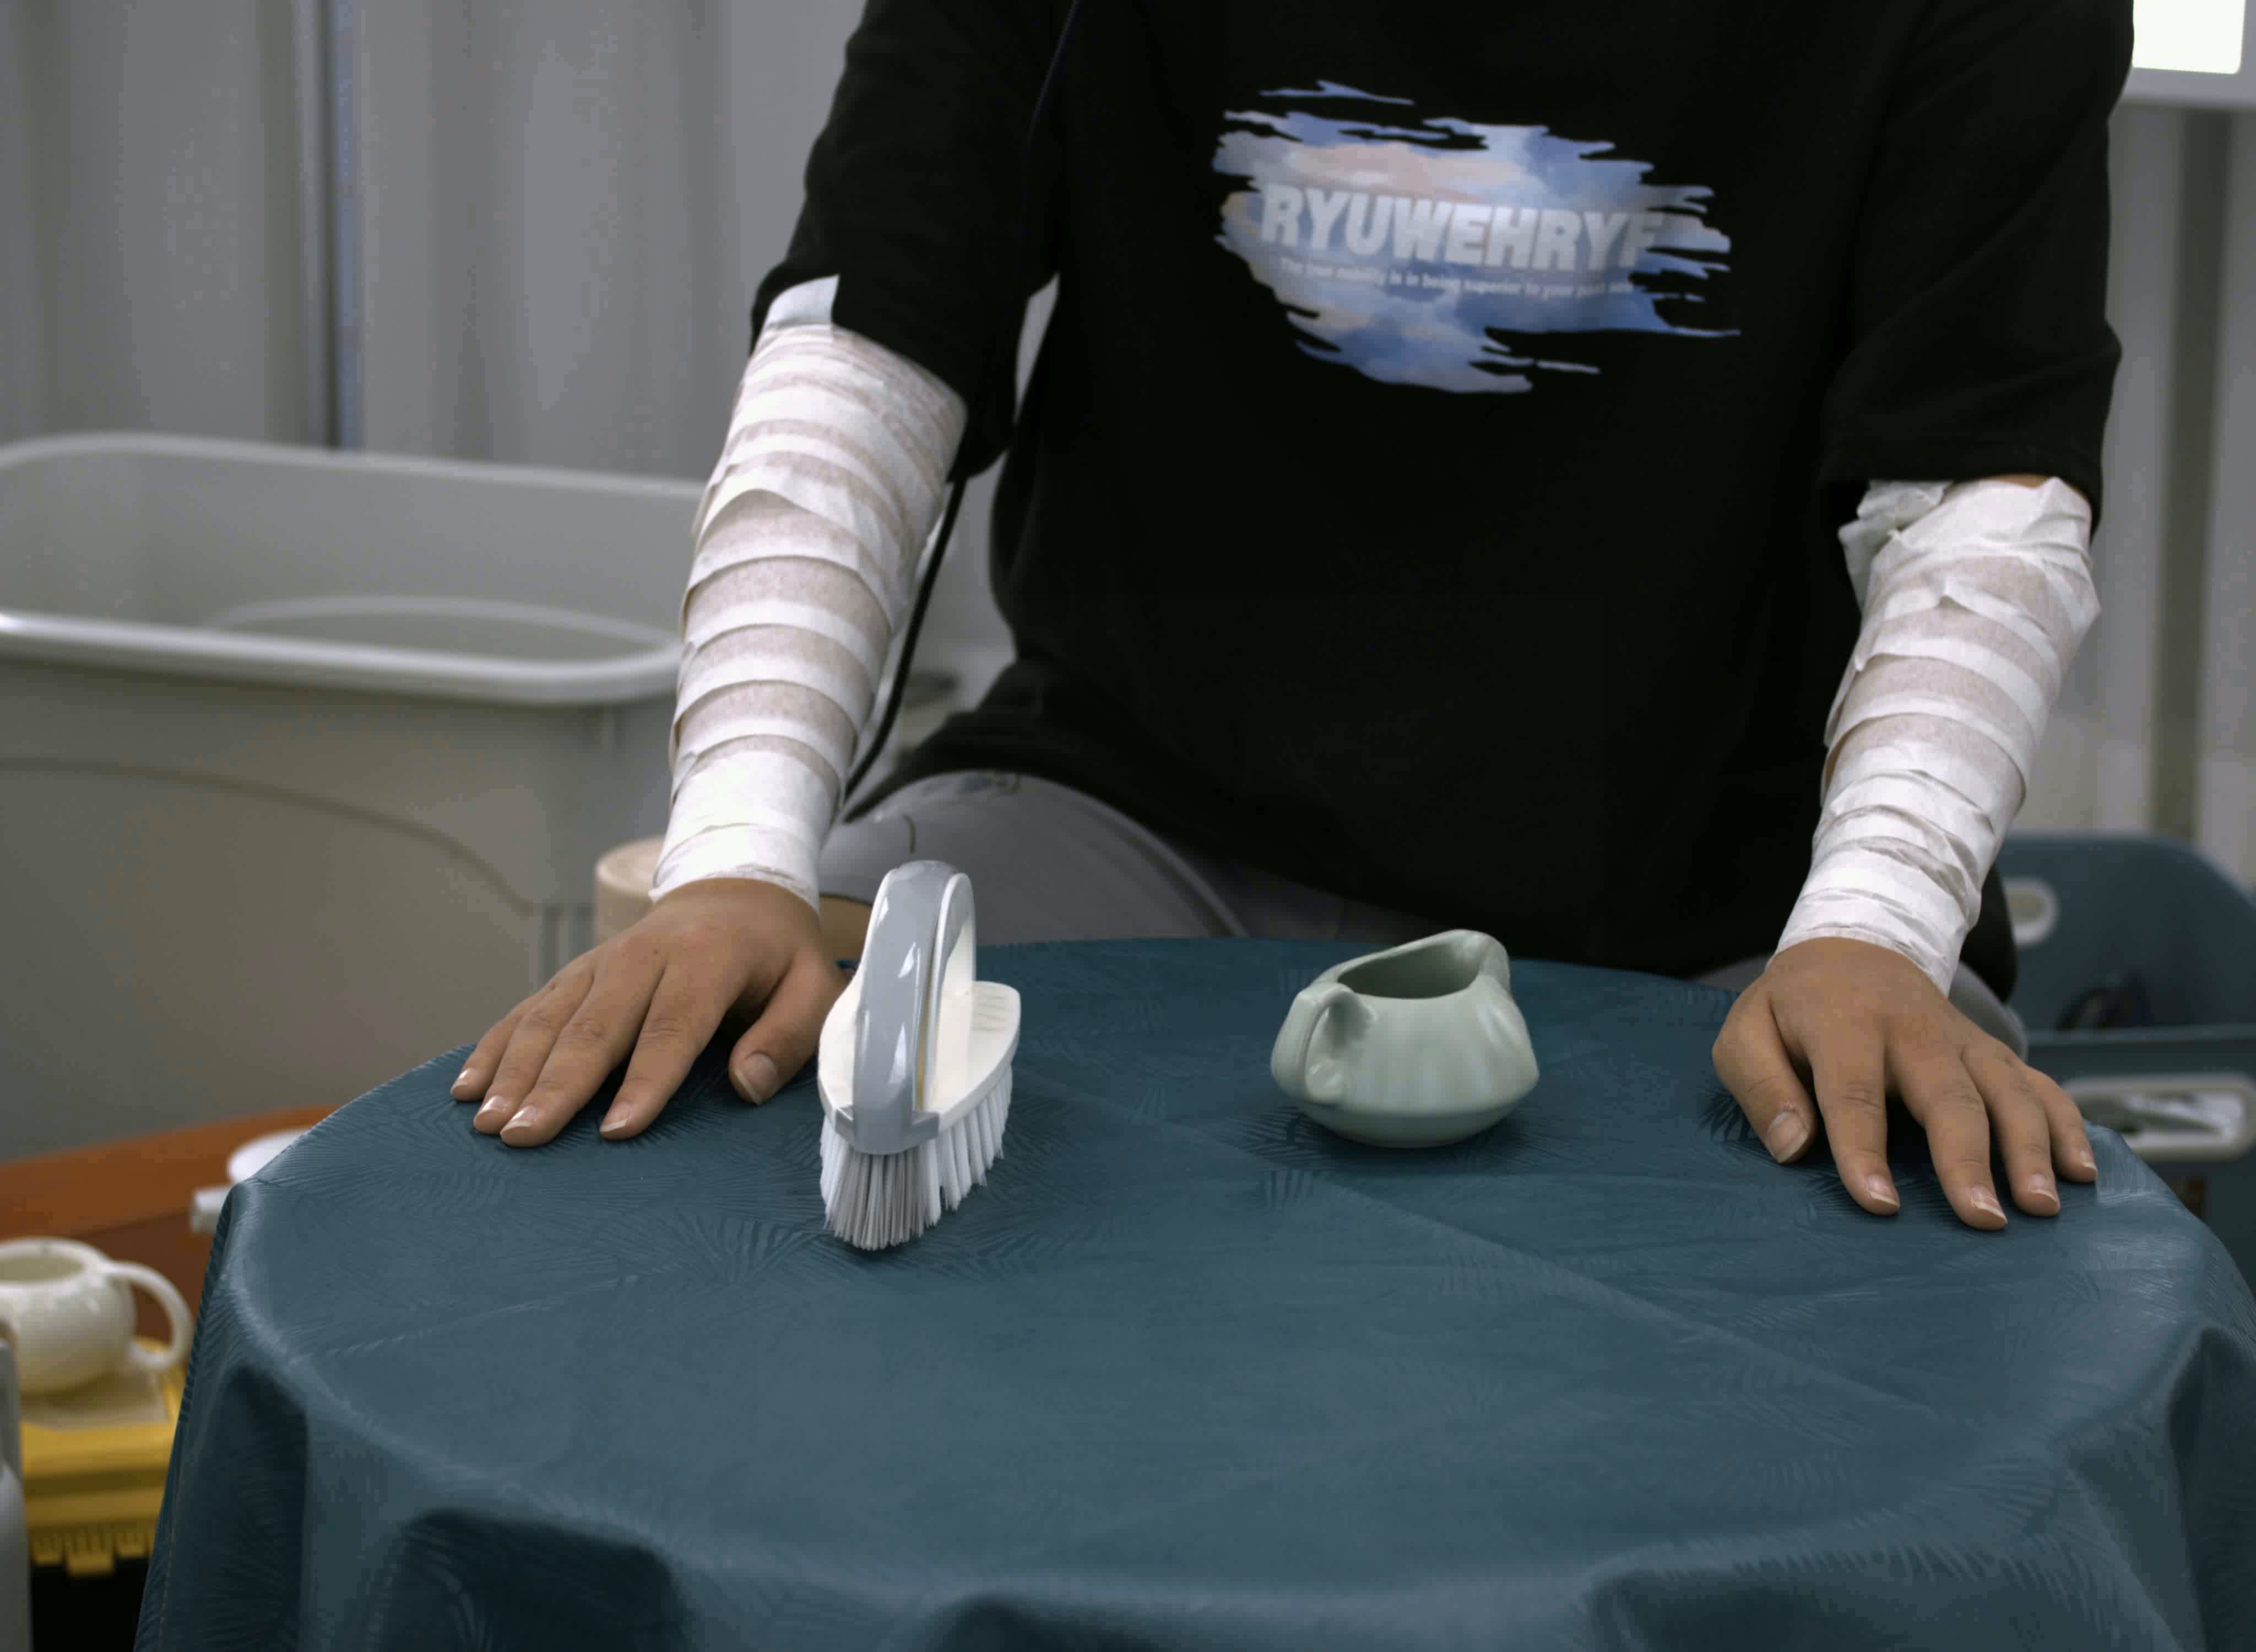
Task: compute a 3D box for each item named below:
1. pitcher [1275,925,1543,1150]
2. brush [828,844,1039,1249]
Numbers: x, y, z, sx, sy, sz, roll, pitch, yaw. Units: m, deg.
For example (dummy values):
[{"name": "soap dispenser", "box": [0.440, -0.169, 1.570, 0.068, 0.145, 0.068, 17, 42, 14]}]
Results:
[{"name": "pitcher", "box": [0.083, 0.071, 1.671, 0.085, 0.061, 0.108, 10, 20, 33]}, {"name": "brush", "box": [-0.065, 0.062, 1.631, 0.061, 0.095, 0.175, -2, 17, 6]}]
